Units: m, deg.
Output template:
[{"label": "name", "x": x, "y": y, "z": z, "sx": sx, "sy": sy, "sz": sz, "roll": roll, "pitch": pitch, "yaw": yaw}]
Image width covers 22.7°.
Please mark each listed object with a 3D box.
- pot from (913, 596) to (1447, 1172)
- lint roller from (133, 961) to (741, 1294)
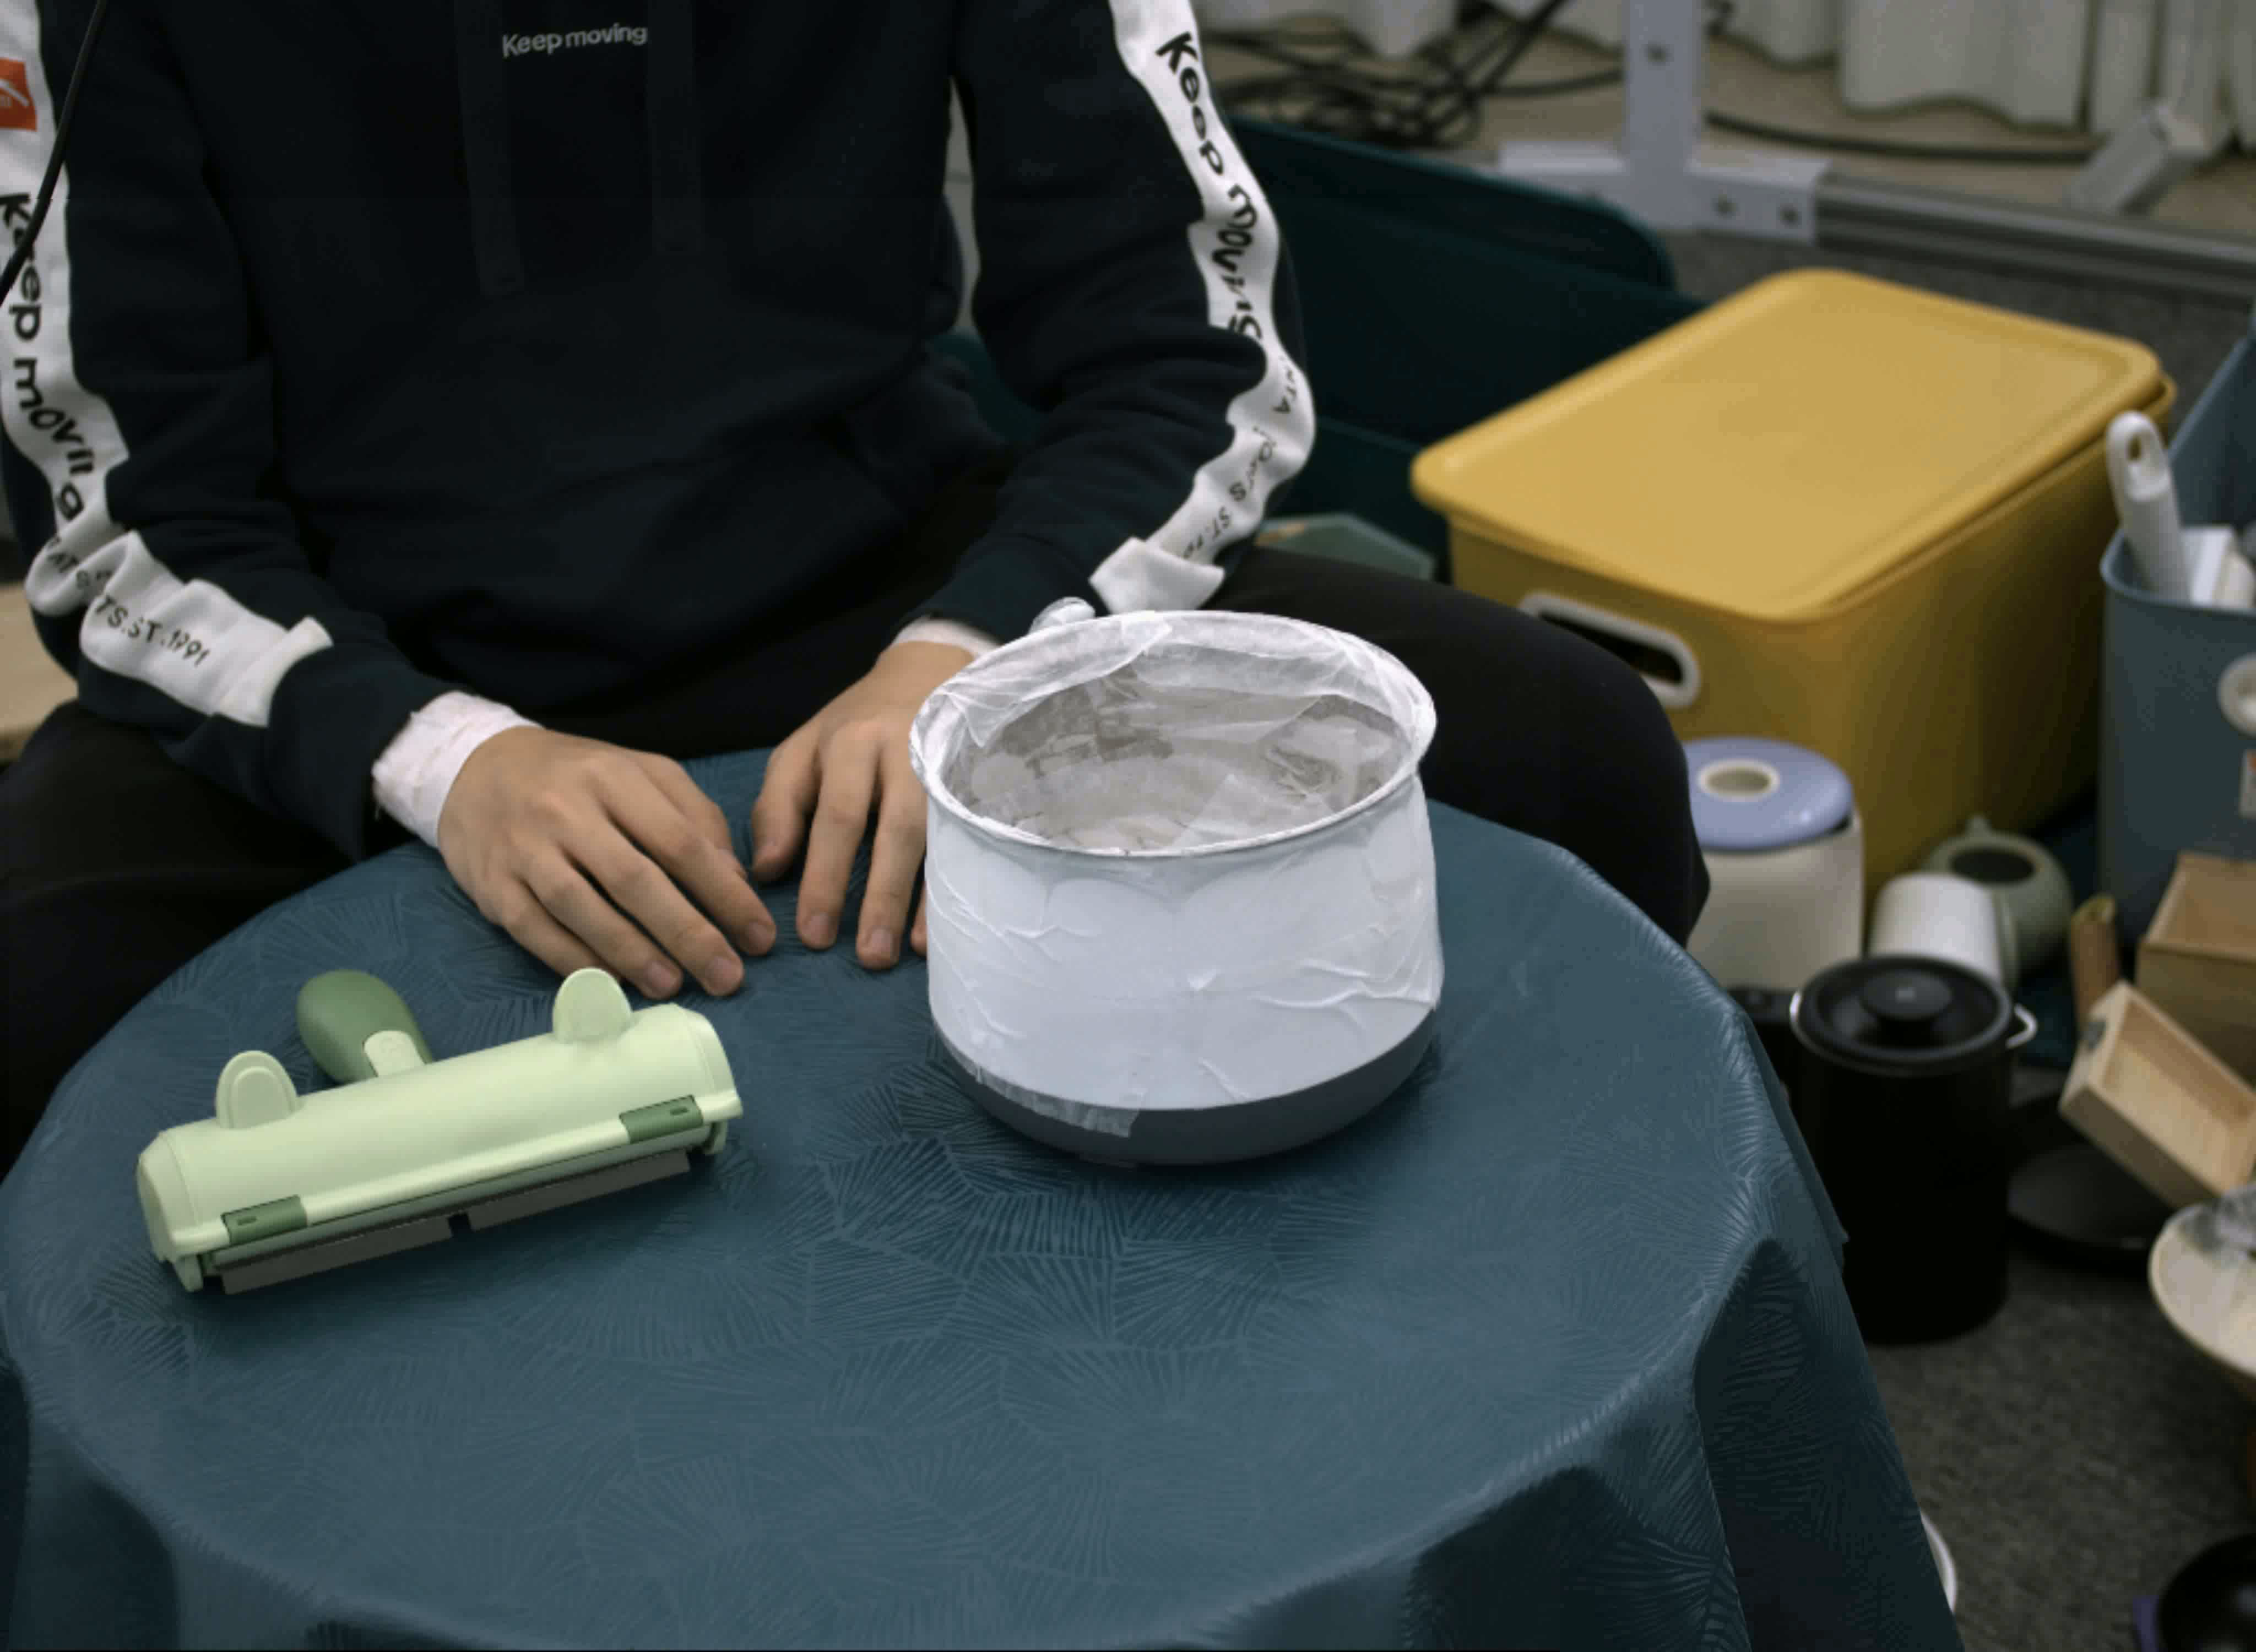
[{"label": "pot", "x": 0.009, "y": 0.012, "z": 1.924, "sx": 0.179, "sy": 0.135, "sz": 0.235, "roll": -12, "pitch": 29, "yaw": -18}, {"label": "lint roller", "x": -0.250, "y": 0.074, "z": 1.896, "sx": 0.199, "sy": 0.081, "sz": 0.185, "roll": -14, "pitch": 34, "yaw": -19}]
